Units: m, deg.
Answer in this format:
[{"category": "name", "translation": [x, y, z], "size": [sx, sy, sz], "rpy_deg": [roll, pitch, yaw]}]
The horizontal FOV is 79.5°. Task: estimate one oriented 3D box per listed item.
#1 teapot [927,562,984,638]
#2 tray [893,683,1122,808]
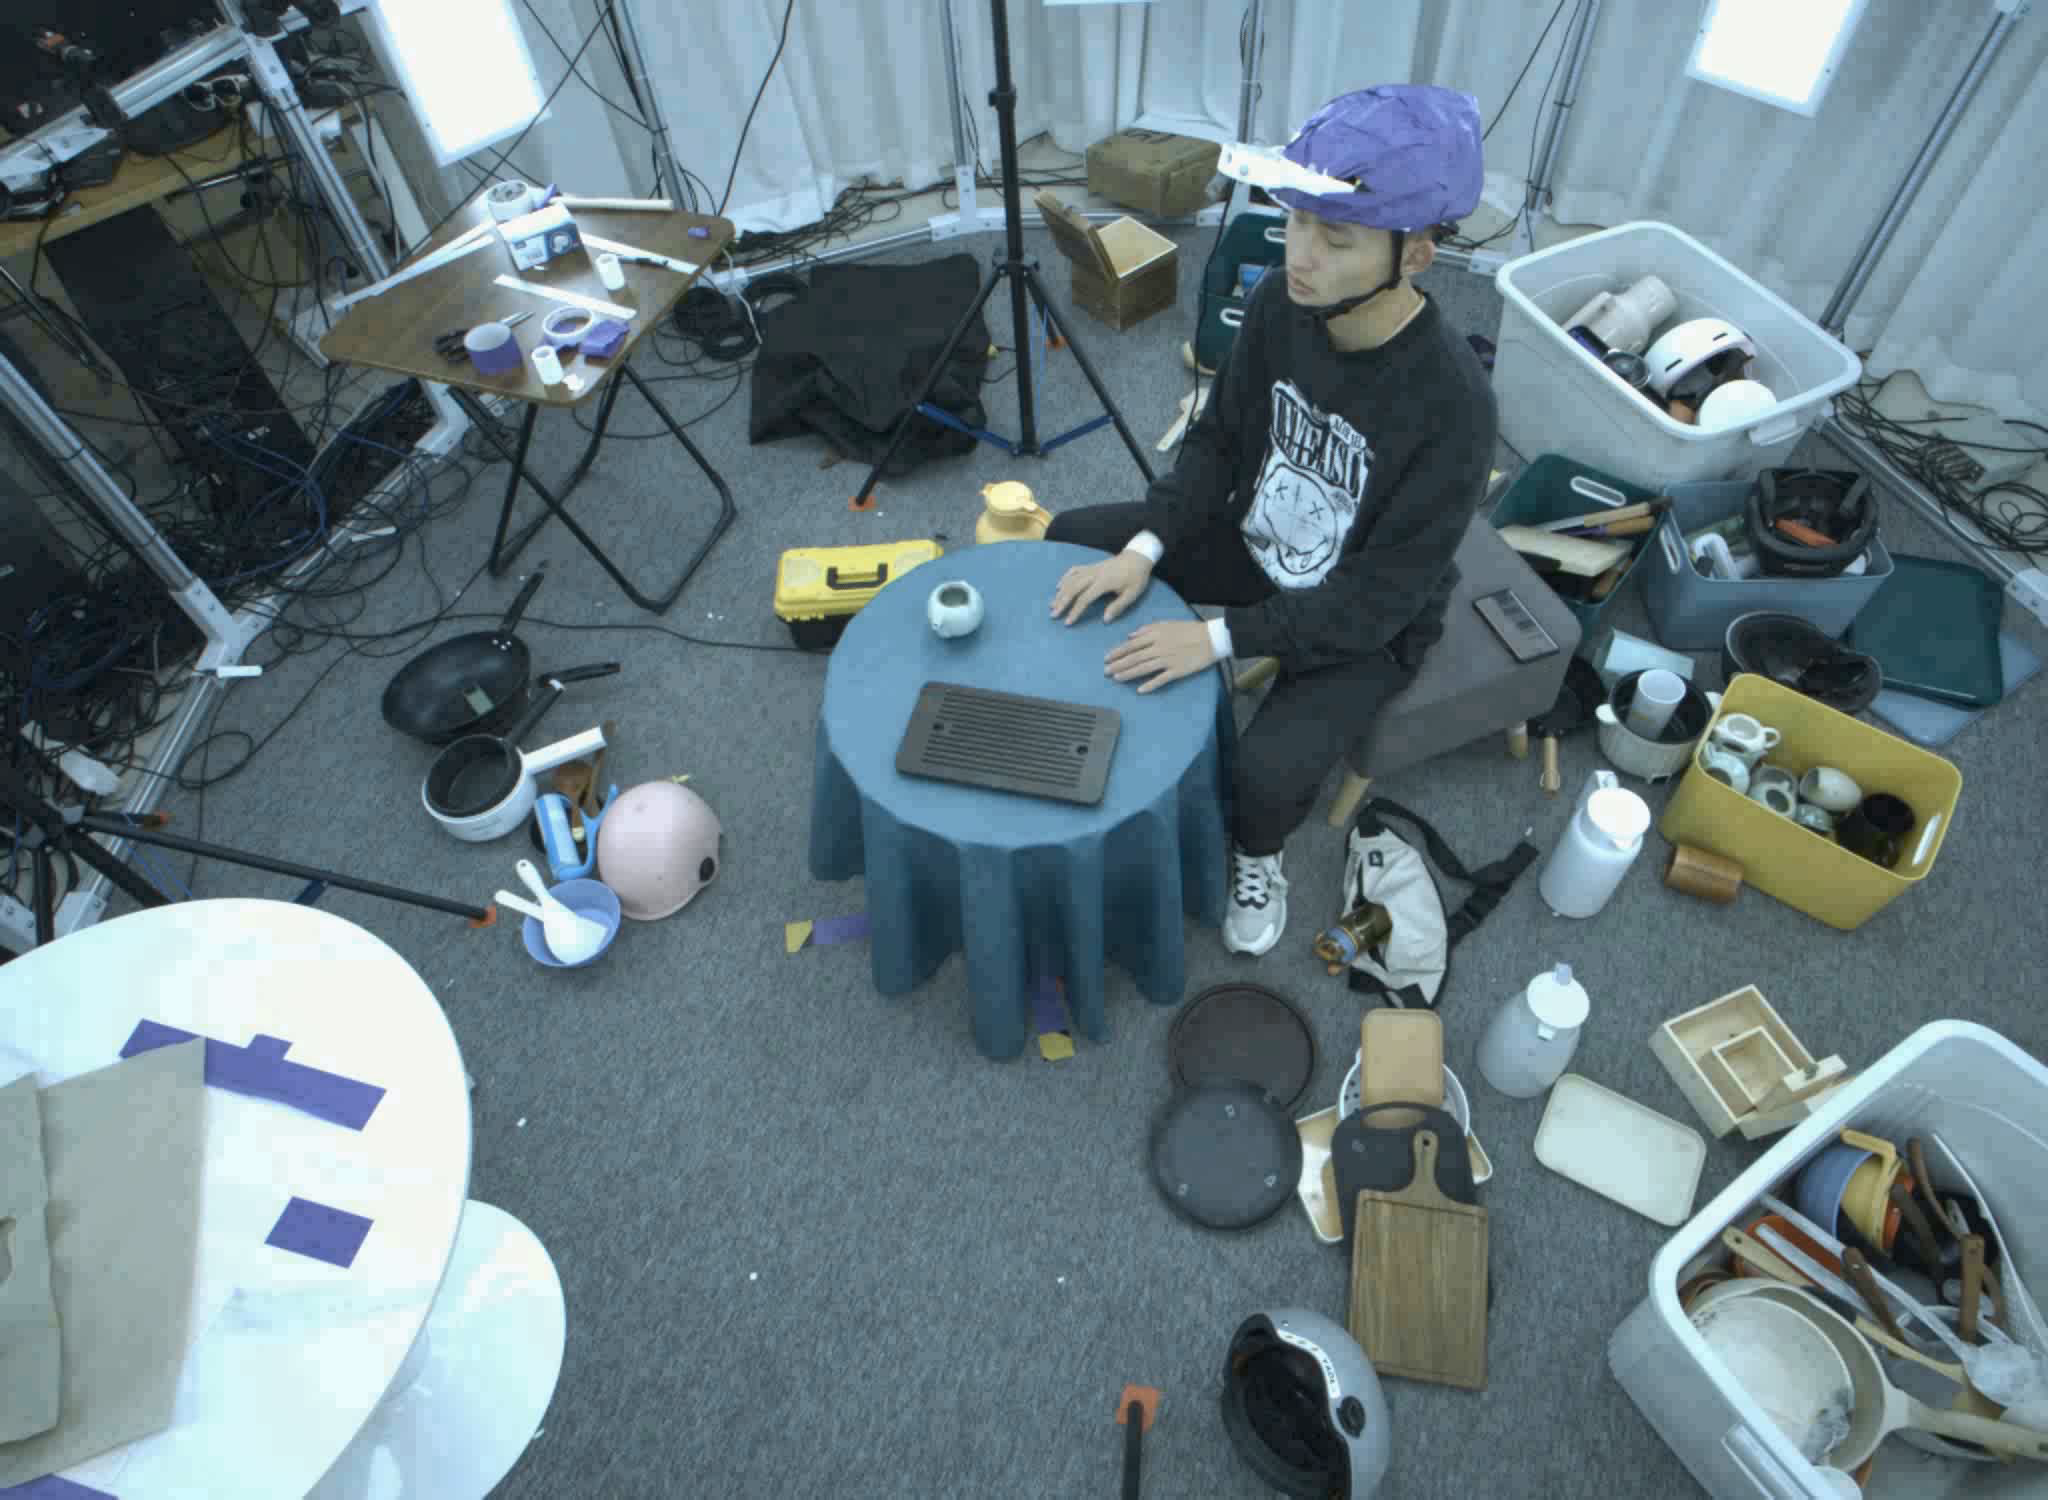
[{"category": "teapot", "translation": [-0.107, -0.219, 1.898], "size": [0.087, 0.075, 0.144], "rpy_deg": [18, 59, 15]}, {"category": "tray", "translation": [-0.022, -0.007, 1.778], "size": [0.304, 0.019, 0.169], "rpy_deg": [10, 55, 8]}]
